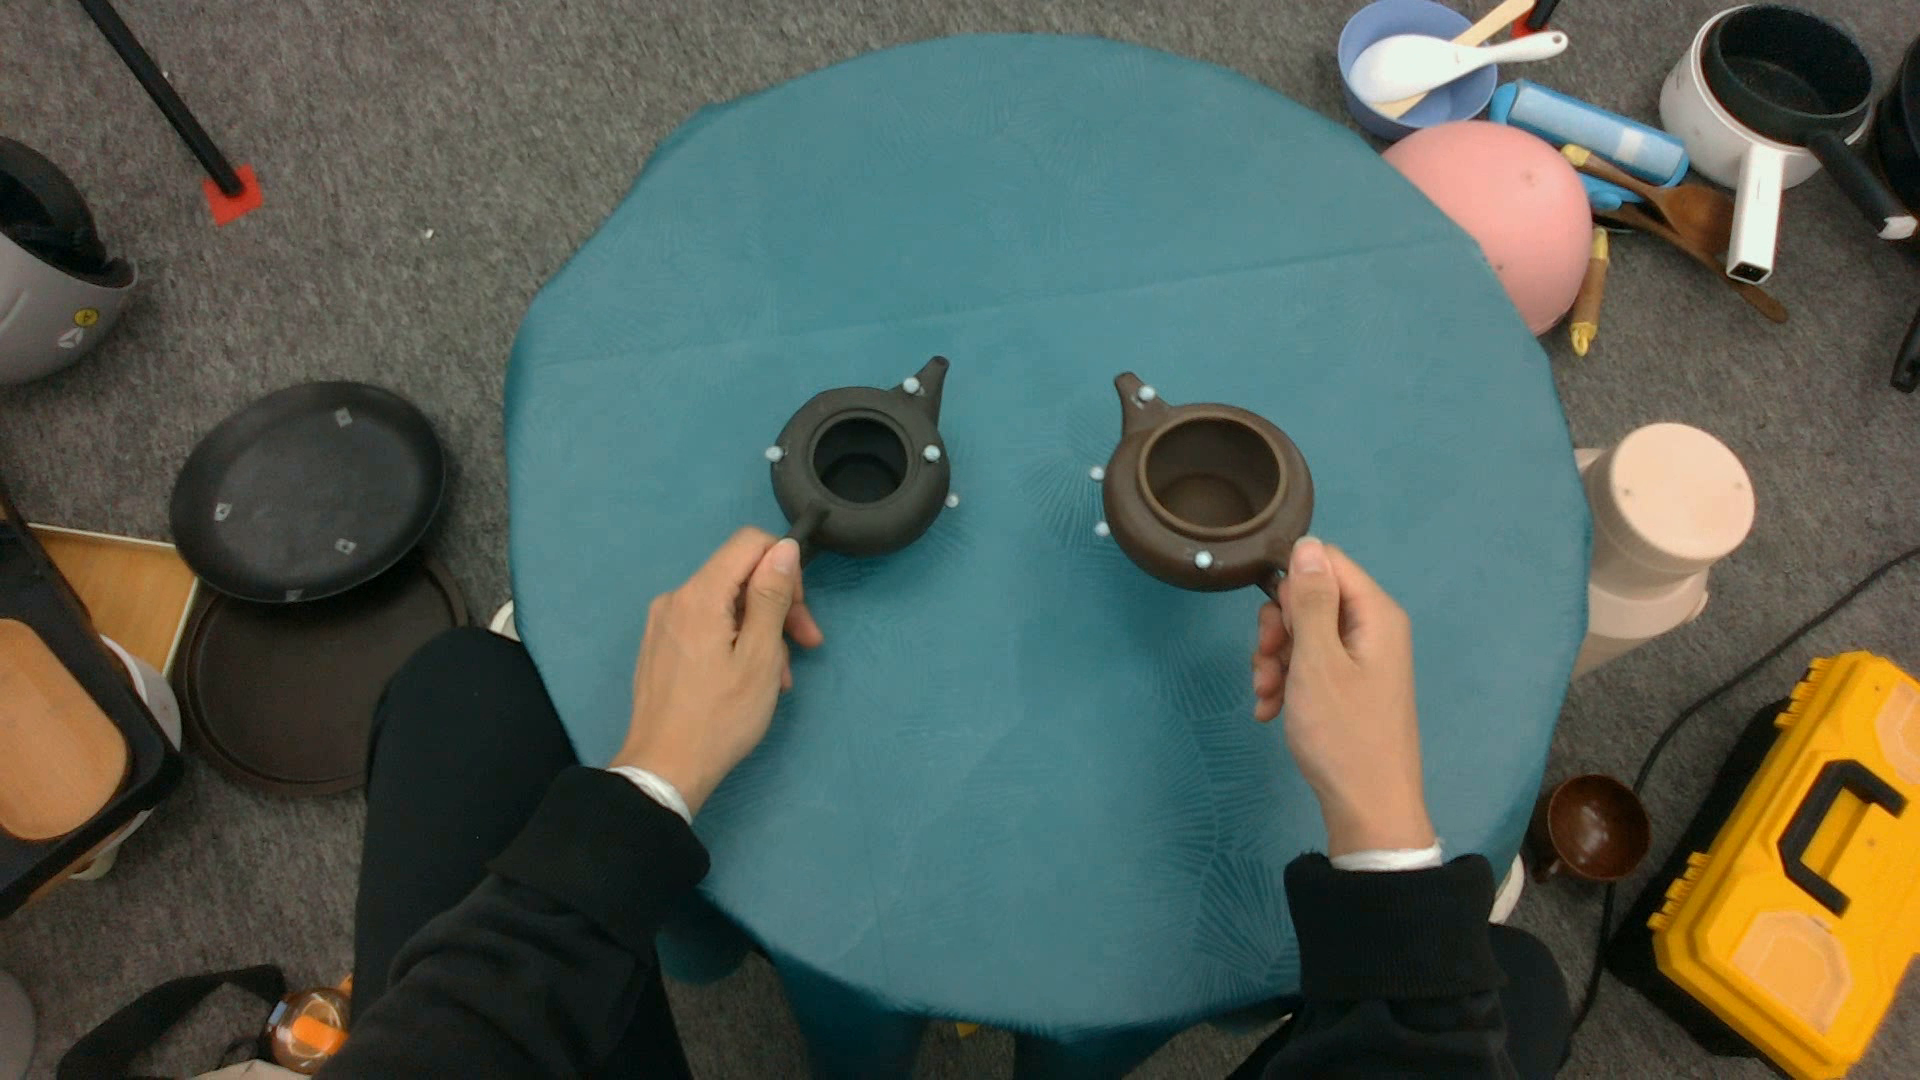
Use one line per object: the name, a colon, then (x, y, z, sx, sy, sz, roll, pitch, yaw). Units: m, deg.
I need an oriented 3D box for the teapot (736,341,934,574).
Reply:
teapot: (-0.062, -0.040, 0.713, 0.092, 0.064, 0.155, 37, 71, 9)

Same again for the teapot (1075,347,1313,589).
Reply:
teapot: (0.110, -0.032, 0.664, 0.103, 0.053, 0.153, -40, 66, -16)
